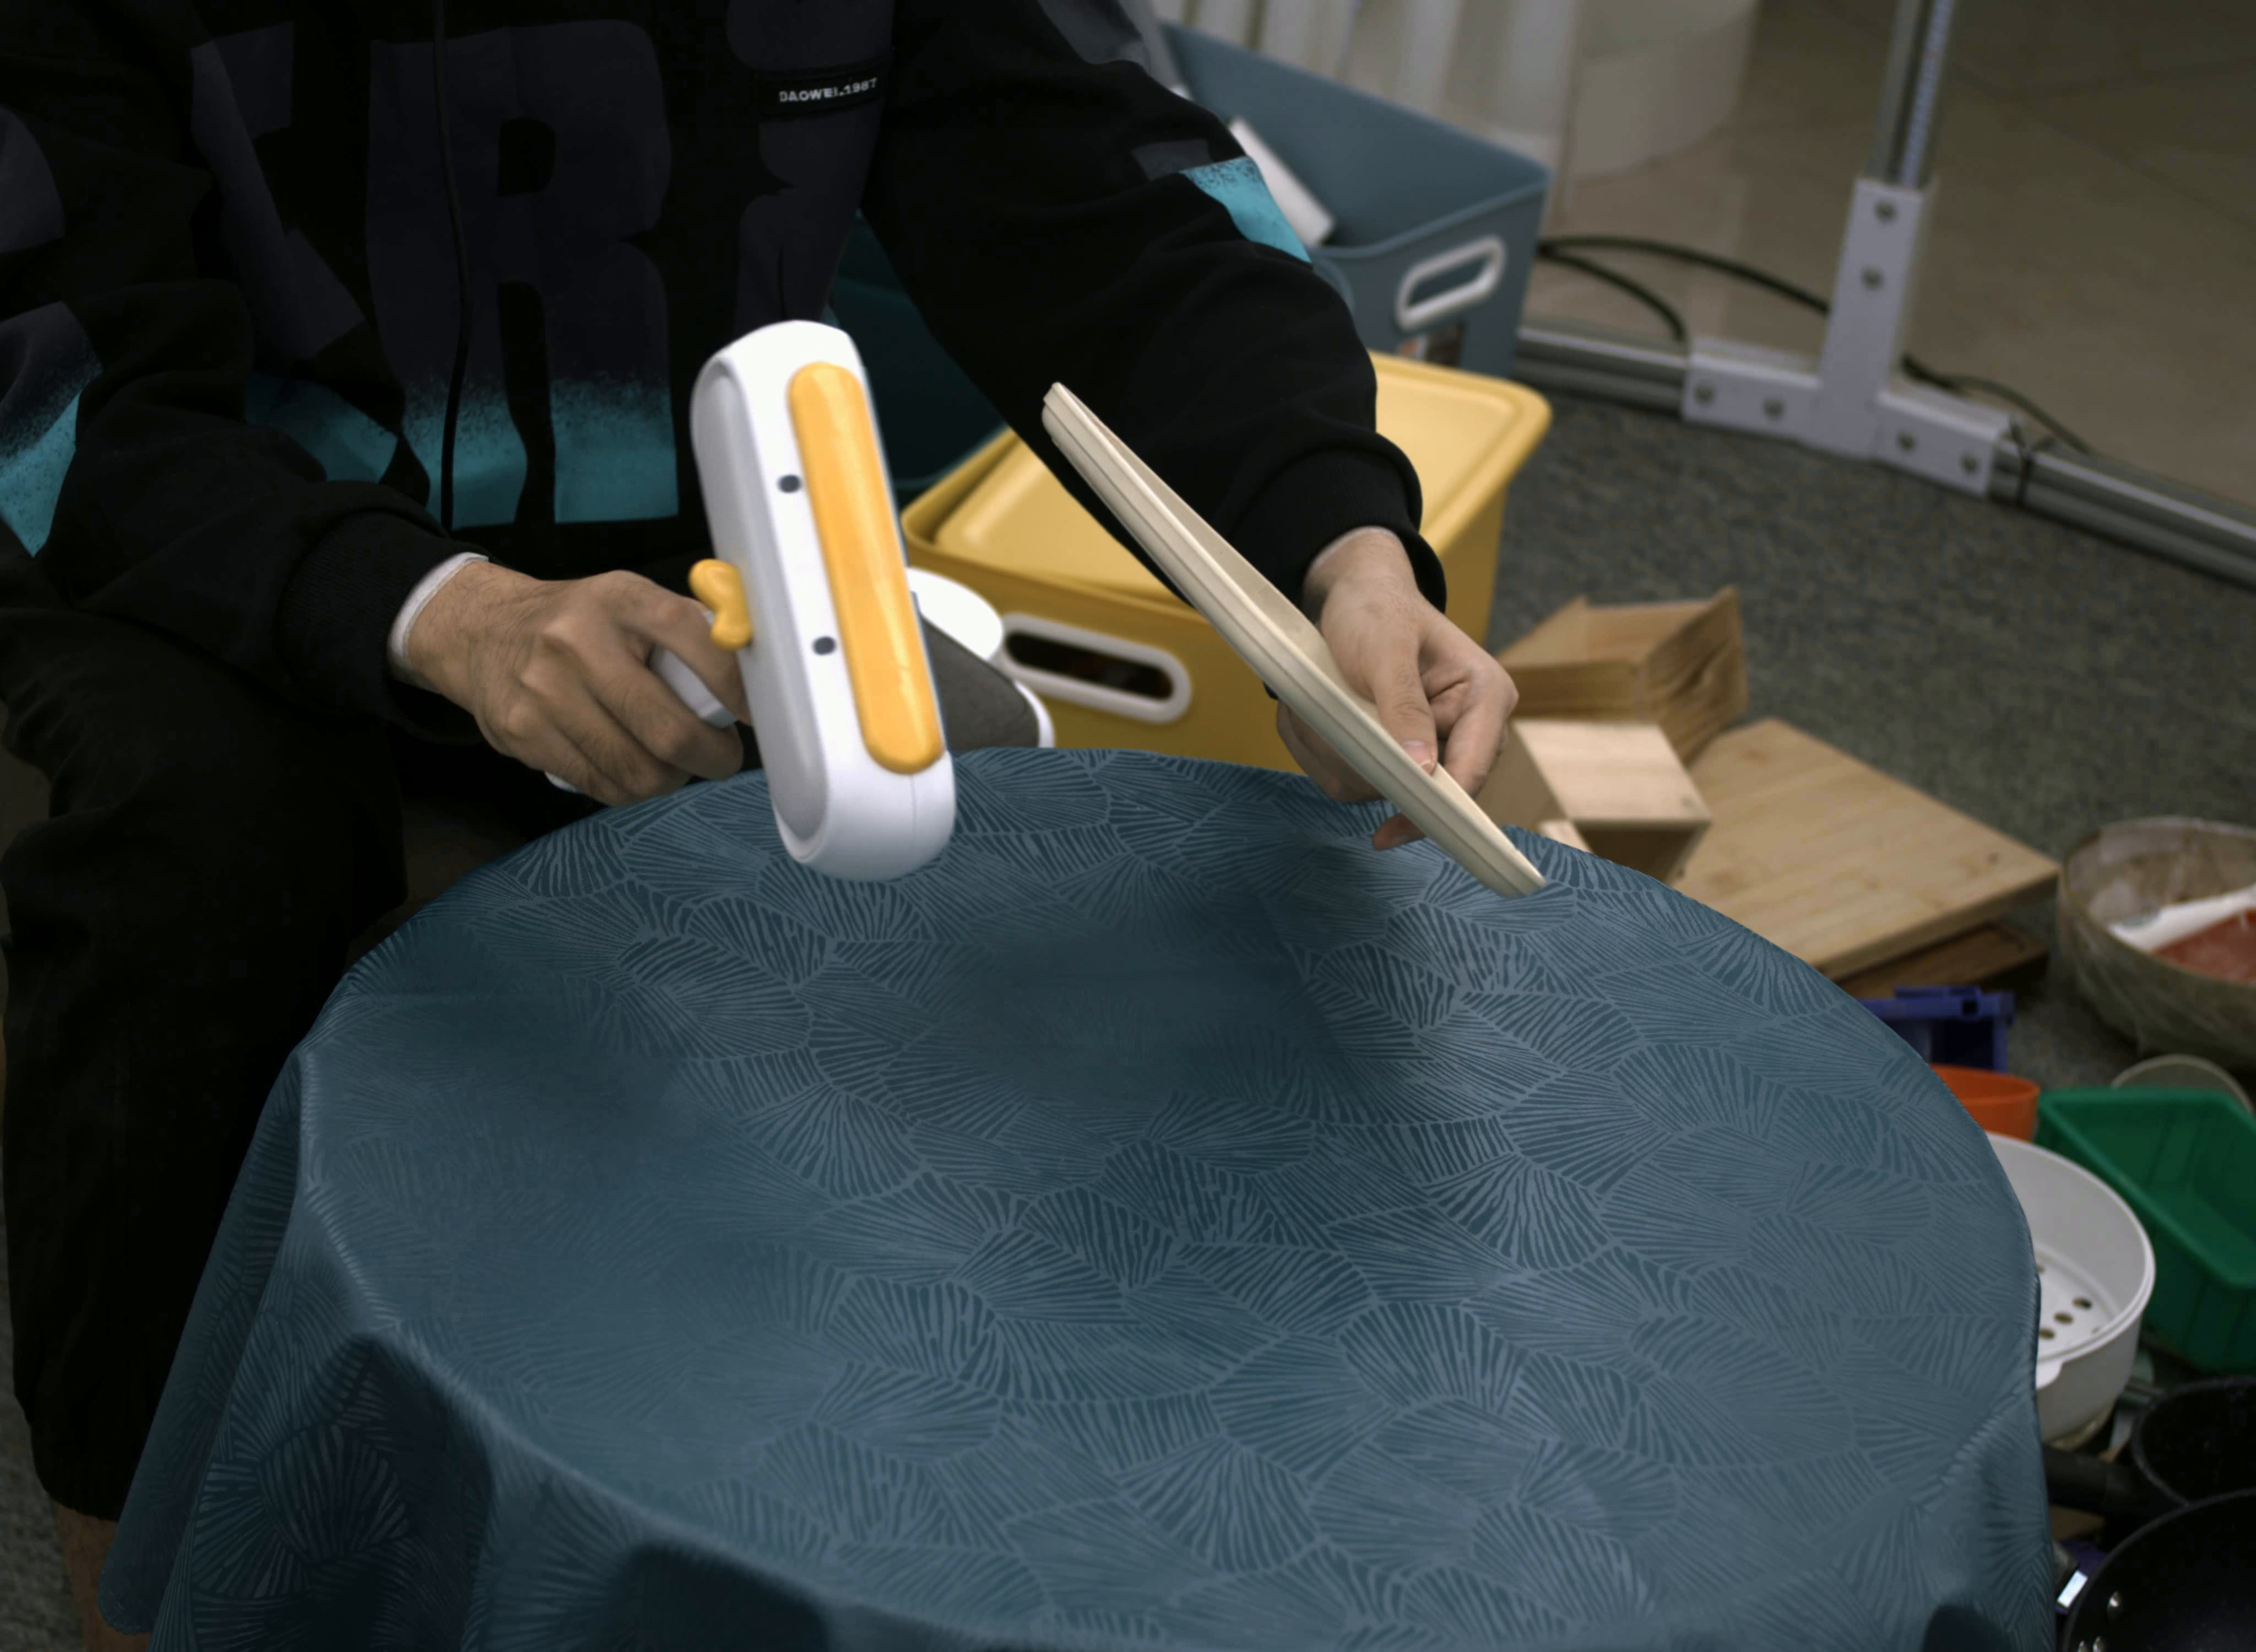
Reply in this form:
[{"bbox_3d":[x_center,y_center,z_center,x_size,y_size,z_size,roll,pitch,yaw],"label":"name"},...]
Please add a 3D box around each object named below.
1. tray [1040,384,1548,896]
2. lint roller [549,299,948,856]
[{"bbox_3d":[0.054,-0.065,1.887,0.170,0.017,0.242,41,6,-33],"label":"tray"},{"bbox_3d":[-0.138,-0.058,1.820,0.073,0.192,0.194,-9,71,-32],"label":"lint roller"}]
